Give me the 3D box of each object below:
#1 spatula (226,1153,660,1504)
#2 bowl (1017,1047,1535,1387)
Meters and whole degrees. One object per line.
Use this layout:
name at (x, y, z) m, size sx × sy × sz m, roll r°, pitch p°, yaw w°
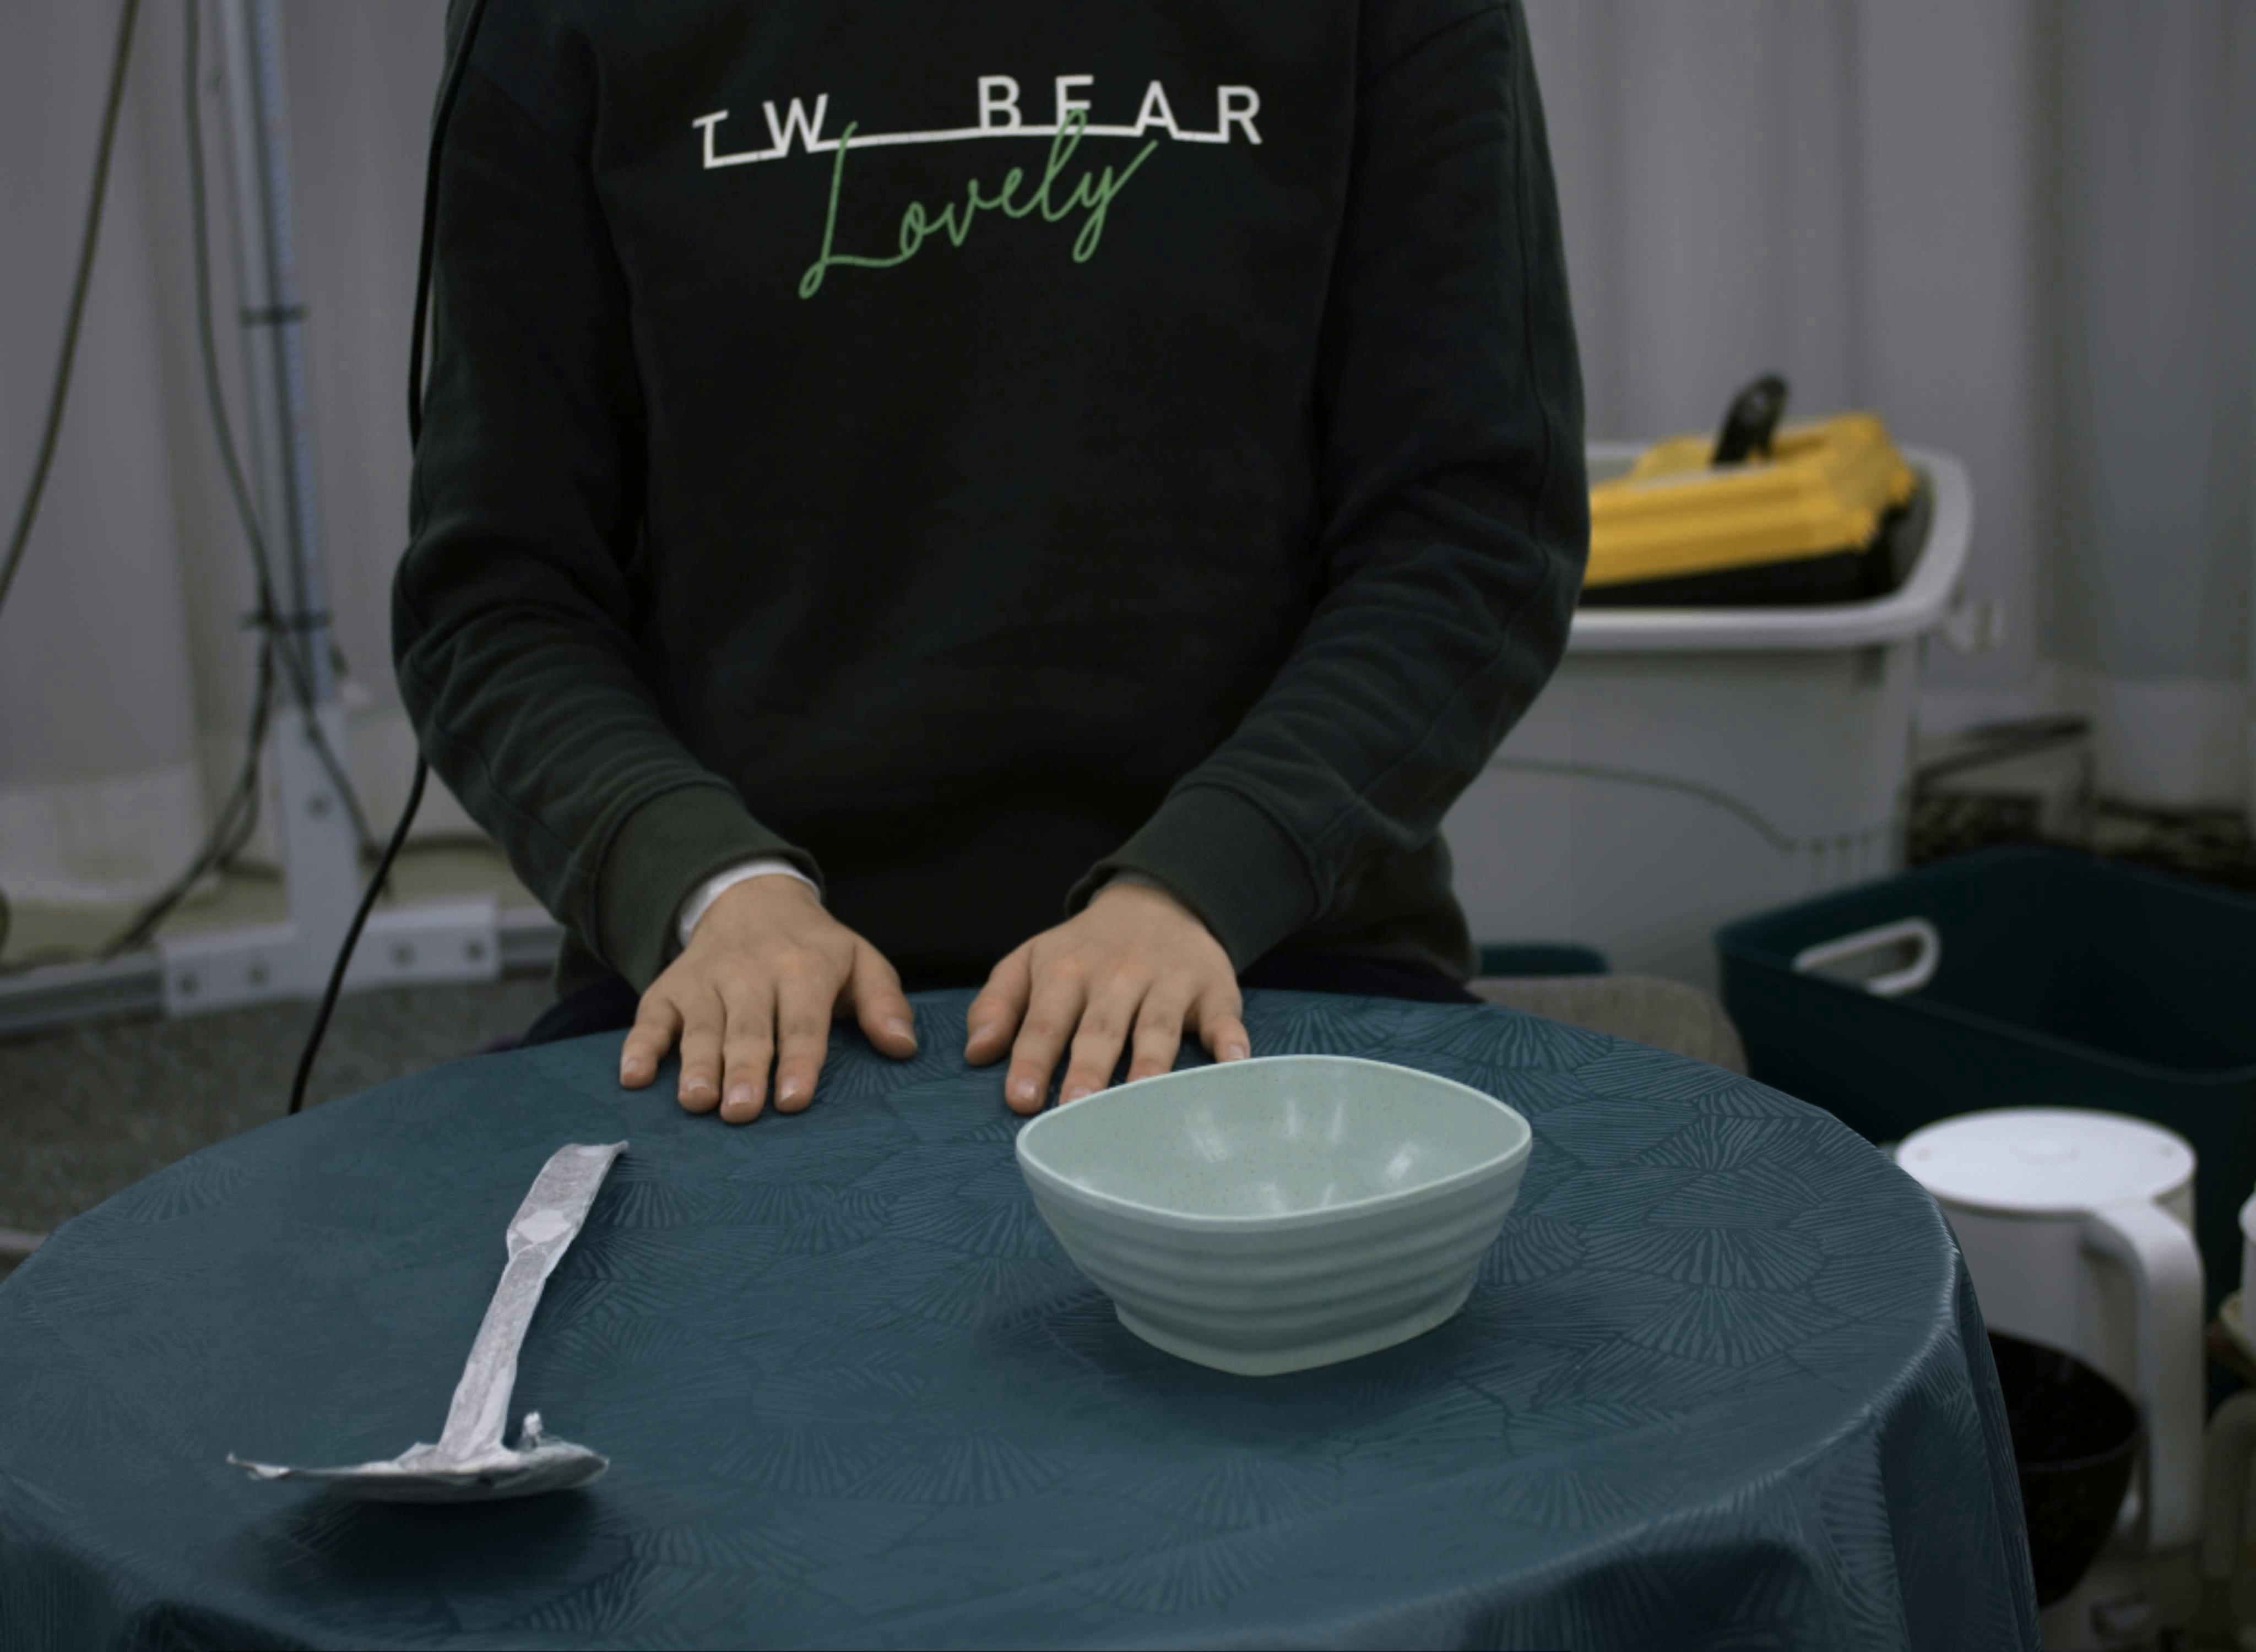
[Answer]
spatula at (-0.176, 0.137, 1.589) m, size 0.098 × 0.044 × 0.367 m, roll -3°, pitch 15°, yaw 5°
bowl at (0.044, 0.117, 1.591) m, size 0.151 × 0.058 × 0.152 m, roll -2°, pitch 17°, yaw 0°
